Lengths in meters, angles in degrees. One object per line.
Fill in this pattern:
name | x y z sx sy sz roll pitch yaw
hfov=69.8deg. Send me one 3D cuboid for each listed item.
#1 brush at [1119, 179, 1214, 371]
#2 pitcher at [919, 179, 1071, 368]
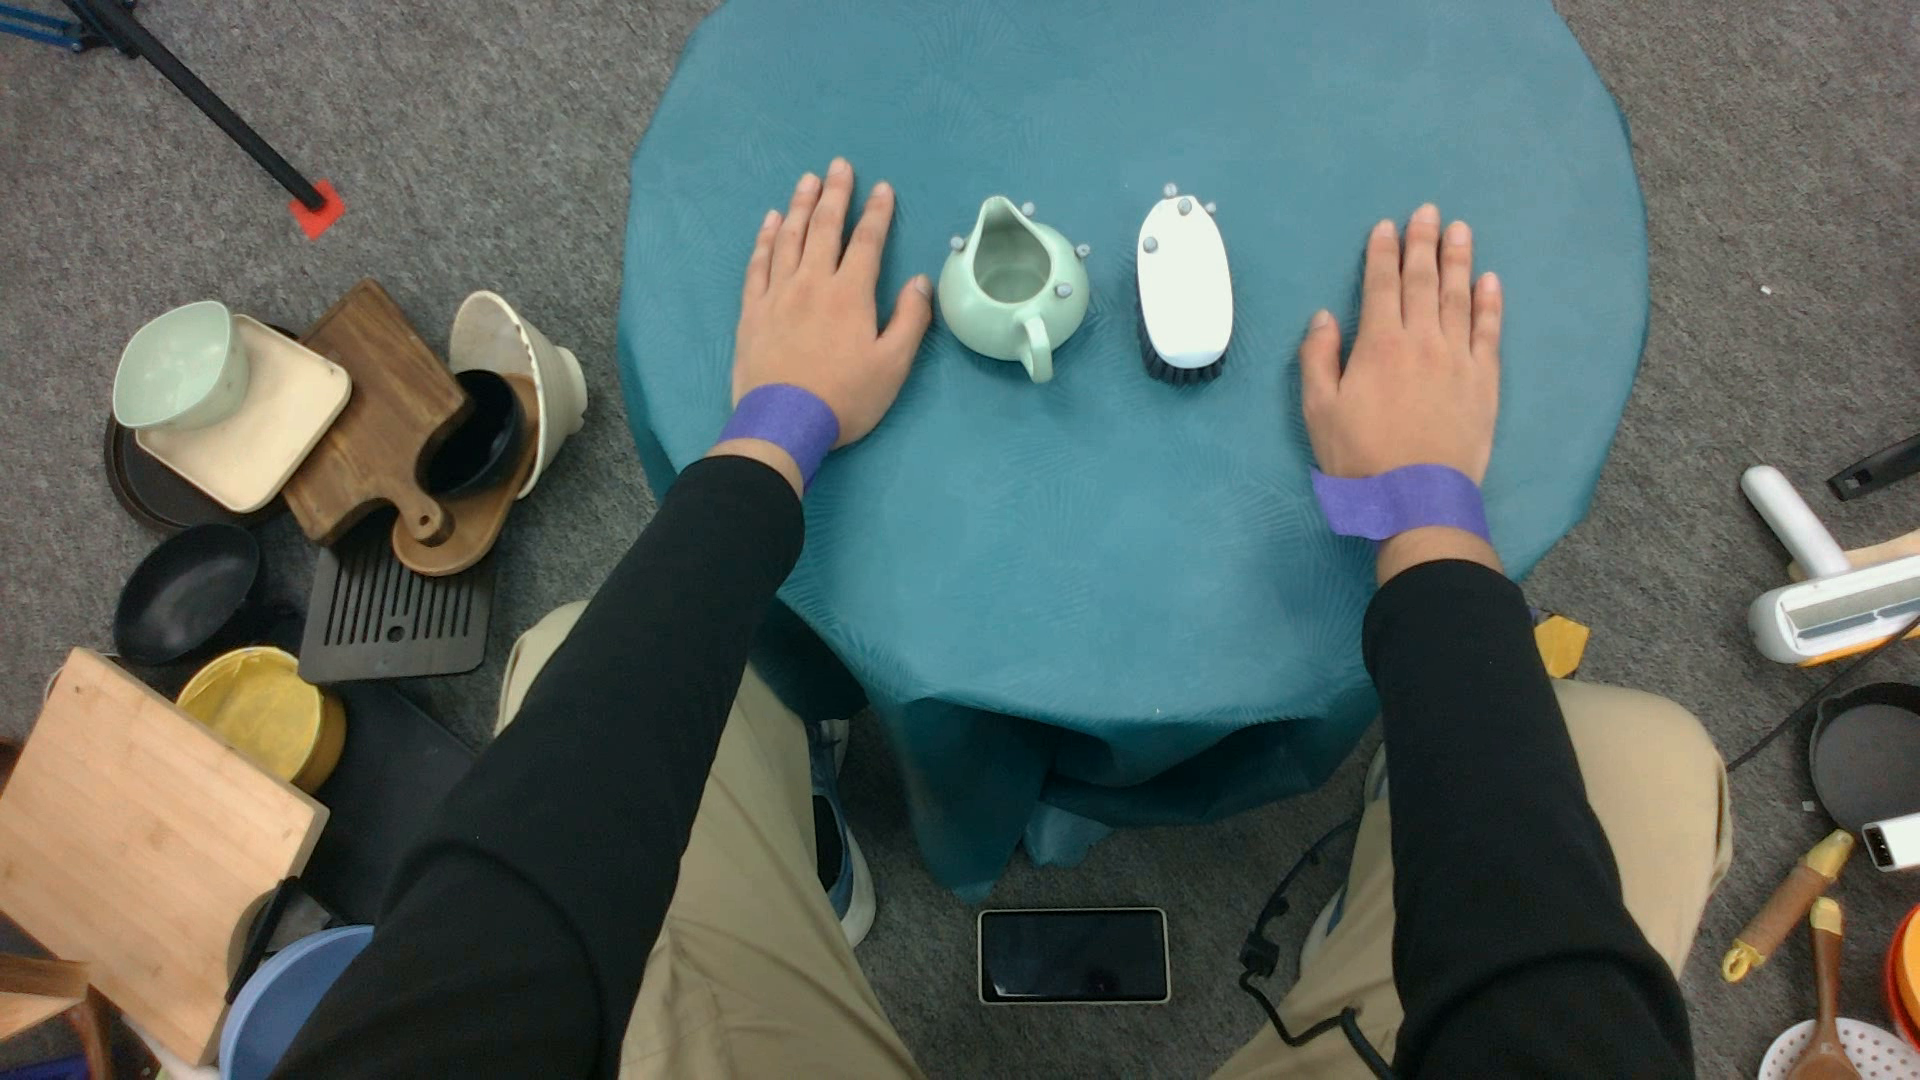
brush | 0.115 -0.152 0.759 0.050 0.072 0.099 -4 71 4
pitcher | 0.023 -0.144 0.773 0.086 0.060 0.108 -18 75 -2
